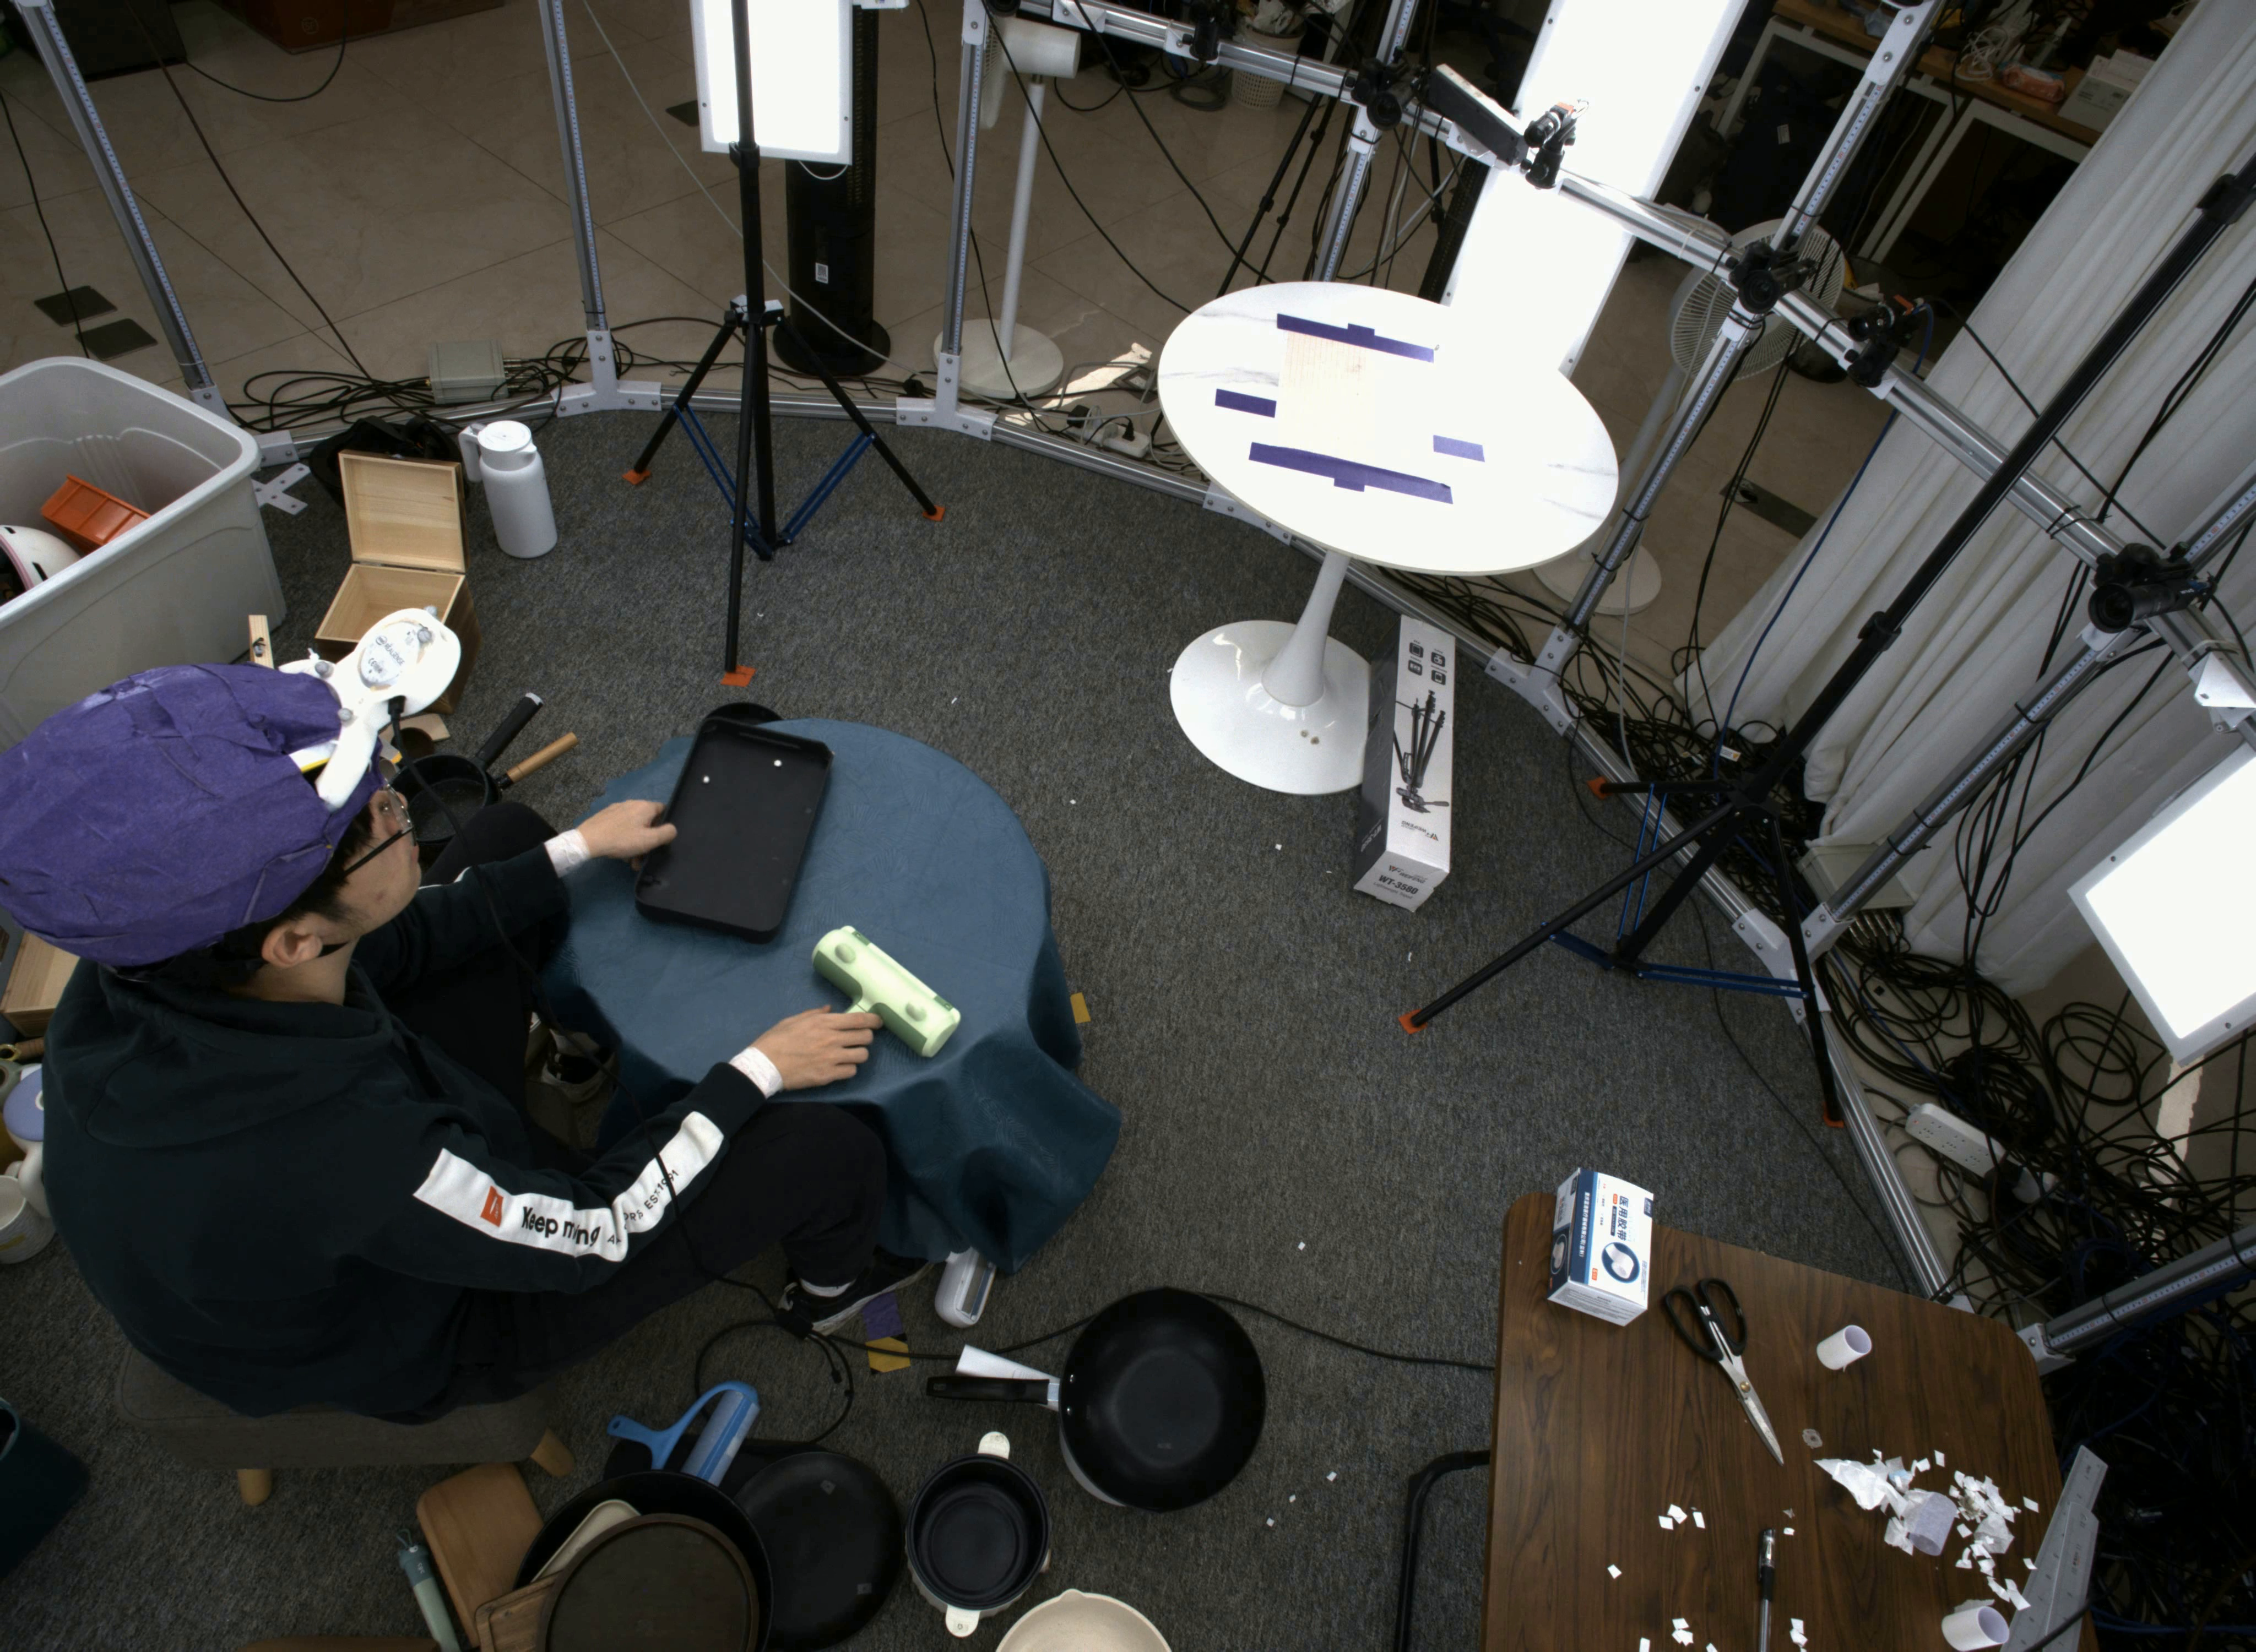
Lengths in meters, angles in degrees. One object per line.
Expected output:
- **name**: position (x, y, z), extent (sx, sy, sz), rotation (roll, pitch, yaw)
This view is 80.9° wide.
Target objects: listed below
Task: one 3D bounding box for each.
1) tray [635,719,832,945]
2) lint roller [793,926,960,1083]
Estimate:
- **tray**: position (-0.506, 0.001, 1.677), extent (0.184, 0.037, 0.313), rotation (13, 51, -9)
- **lint roller**: position (-0.328, 0.224, 1.539), extent (0.195, 0.084, 0.183), rotation (36, 50, 13)
